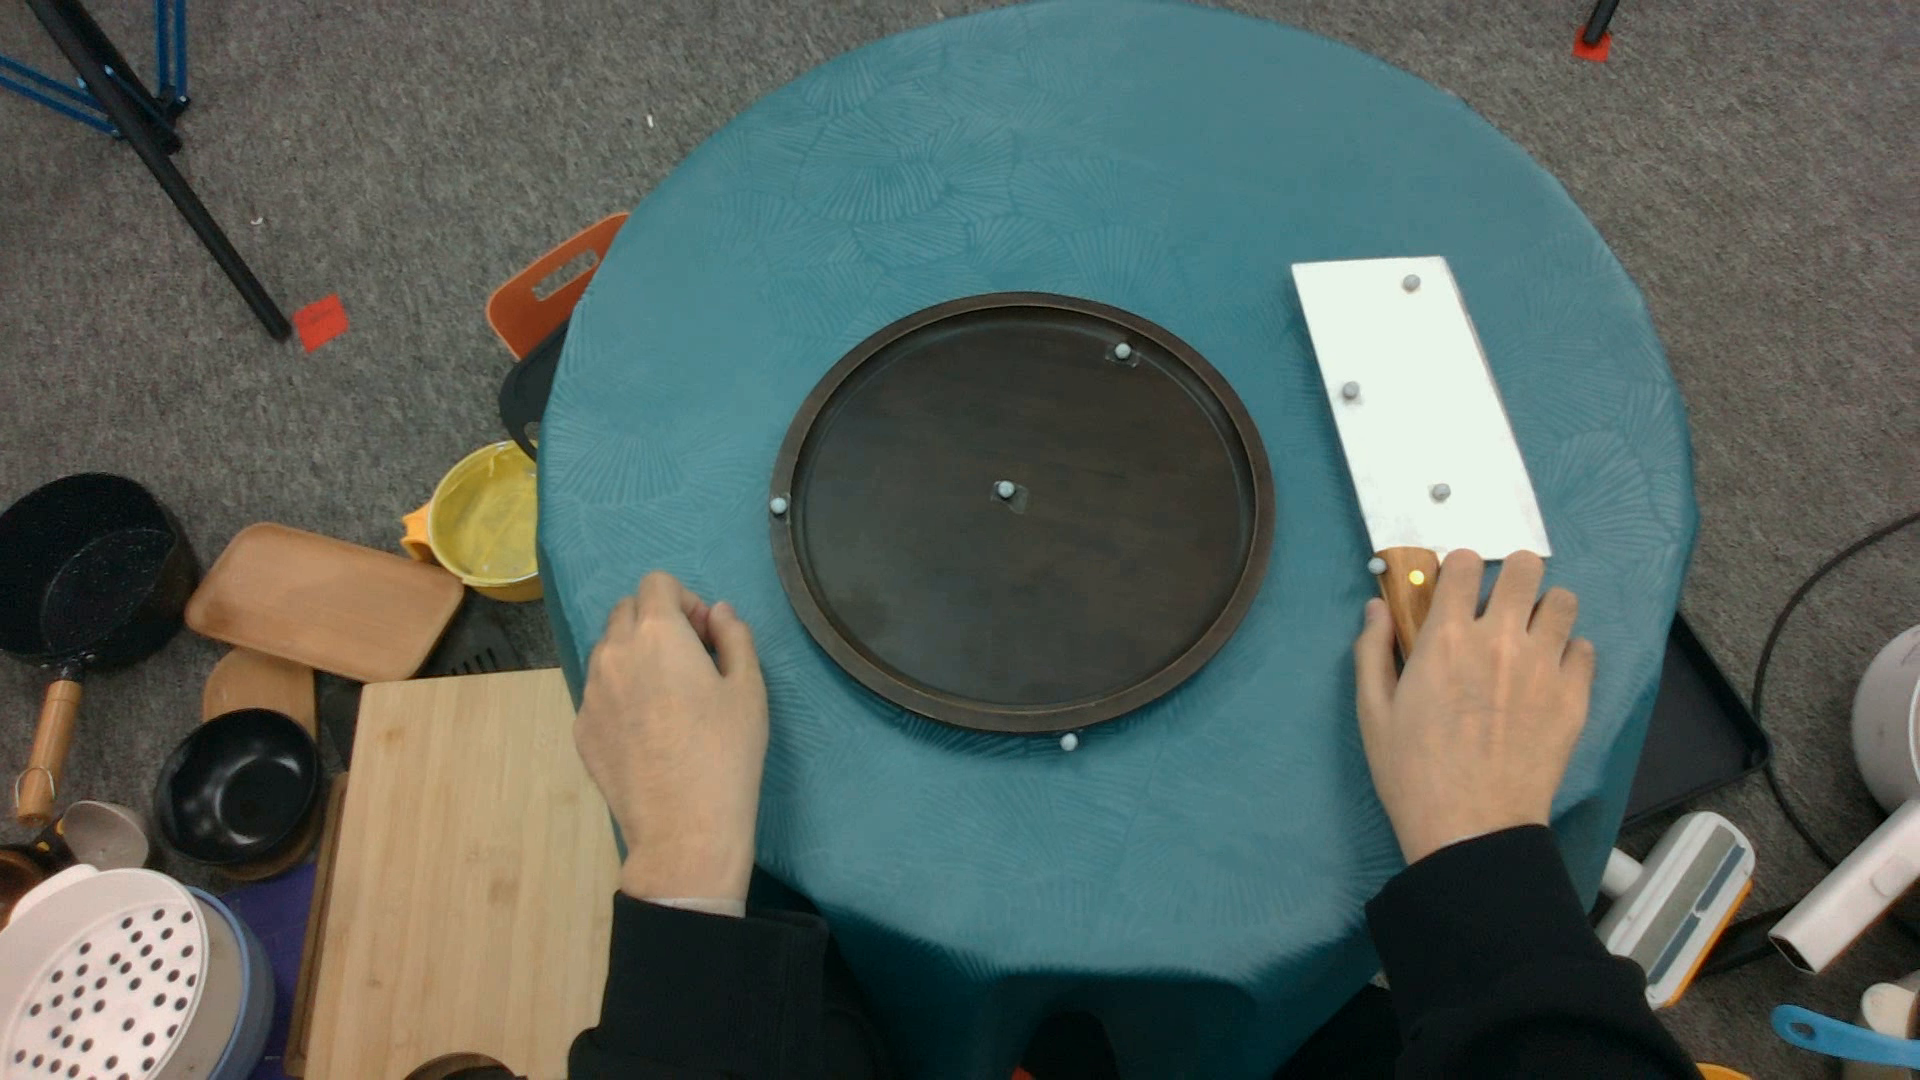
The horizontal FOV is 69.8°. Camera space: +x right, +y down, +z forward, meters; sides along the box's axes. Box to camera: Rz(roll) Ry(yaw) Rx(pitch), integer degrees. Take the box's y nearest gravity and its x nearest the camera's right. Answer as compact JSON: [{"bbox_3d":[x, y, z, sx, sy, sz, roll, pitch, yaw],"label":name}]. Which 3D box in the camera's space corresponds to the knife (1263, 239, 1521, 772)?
[{"bbox_3d":[0.230,-0.033,0.695,0.093,0.021,0.307,-4,62,-8],"label":"knife"}]

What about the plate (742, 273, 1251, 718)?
[{"bbox_3d":[0.018,-0.029,0.692,0.255,0.029,0.256,-1,62,2],"label":"plate"}]
